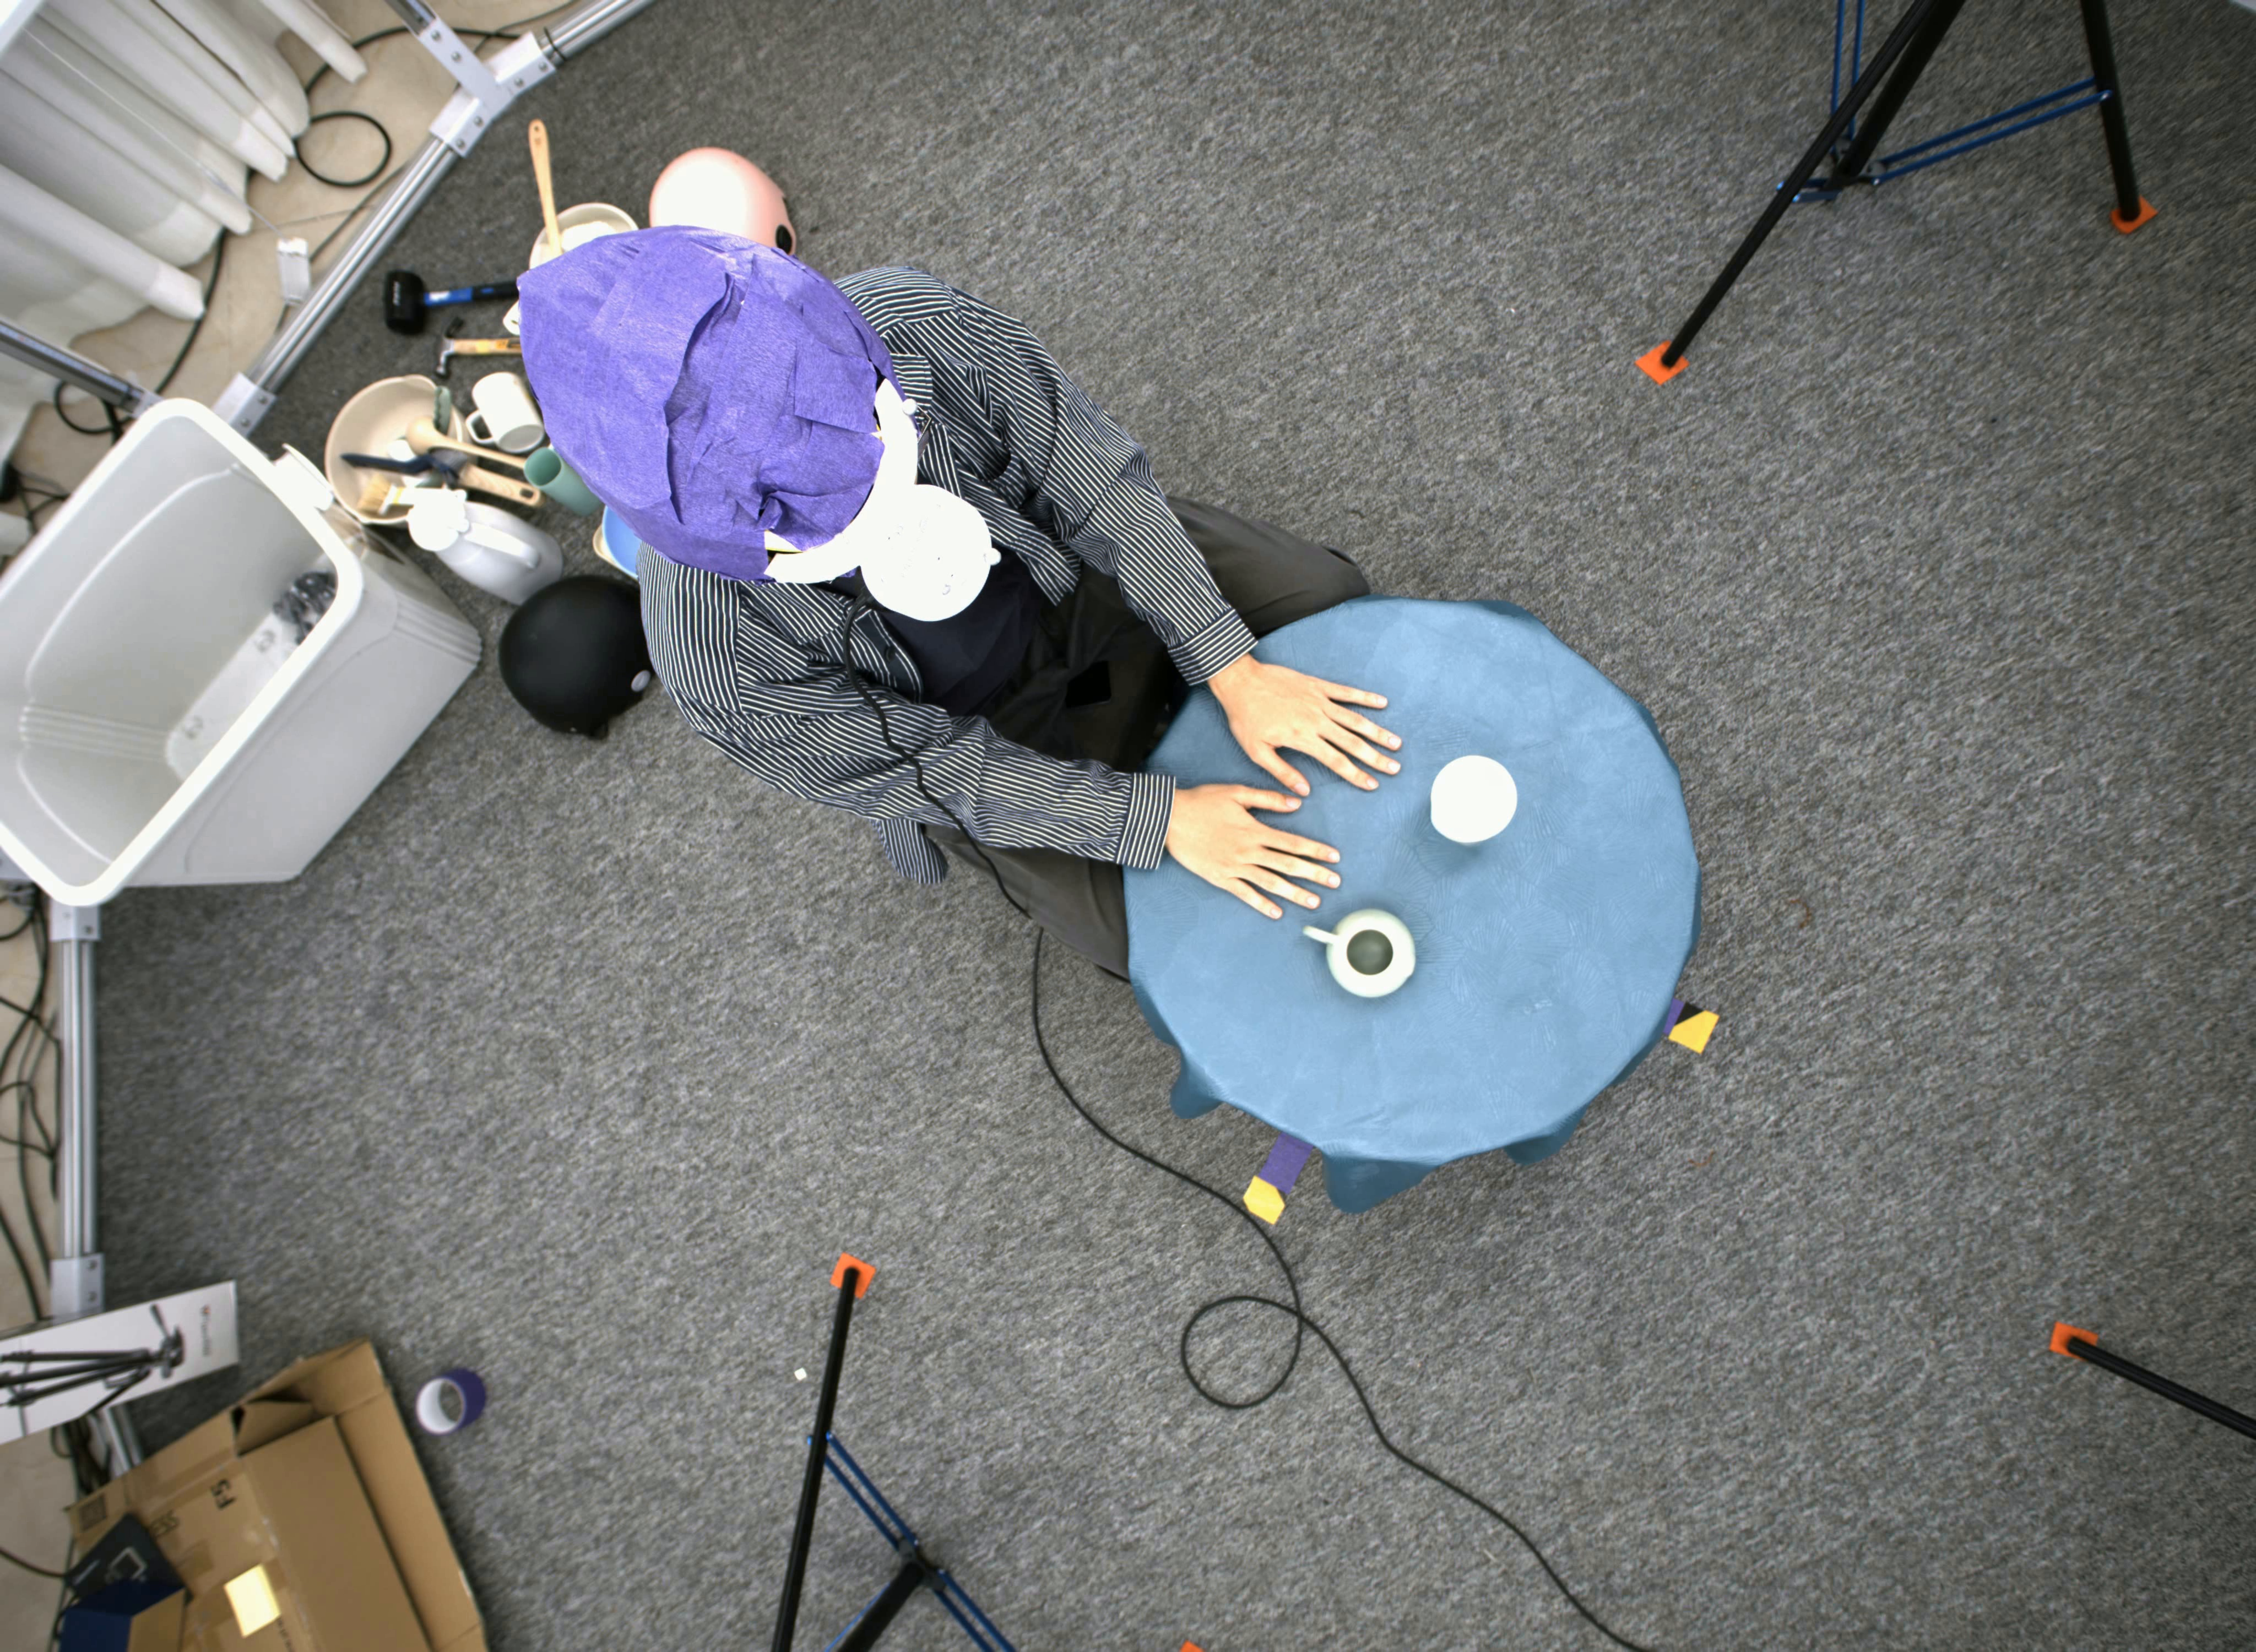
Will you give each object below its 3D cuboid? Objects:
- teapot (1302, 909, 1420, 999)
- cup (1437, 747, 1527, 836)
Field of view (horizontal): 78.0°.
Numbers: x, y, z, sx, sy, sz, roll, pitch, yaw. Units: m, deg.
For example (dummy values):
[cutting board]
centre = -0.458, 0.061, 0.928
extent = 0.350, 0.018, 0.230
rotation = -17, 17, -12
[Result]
[teapot]
centre = 0.239, 0.126, 1.422
extent = 0.128, 0.061, 0.092
rotation = 24, 93, 11
[cup]
centre = 0.350, -0.033, 1.372
extent = 0.082, 0.125, 0.081
rotation = -1, 86, 9
